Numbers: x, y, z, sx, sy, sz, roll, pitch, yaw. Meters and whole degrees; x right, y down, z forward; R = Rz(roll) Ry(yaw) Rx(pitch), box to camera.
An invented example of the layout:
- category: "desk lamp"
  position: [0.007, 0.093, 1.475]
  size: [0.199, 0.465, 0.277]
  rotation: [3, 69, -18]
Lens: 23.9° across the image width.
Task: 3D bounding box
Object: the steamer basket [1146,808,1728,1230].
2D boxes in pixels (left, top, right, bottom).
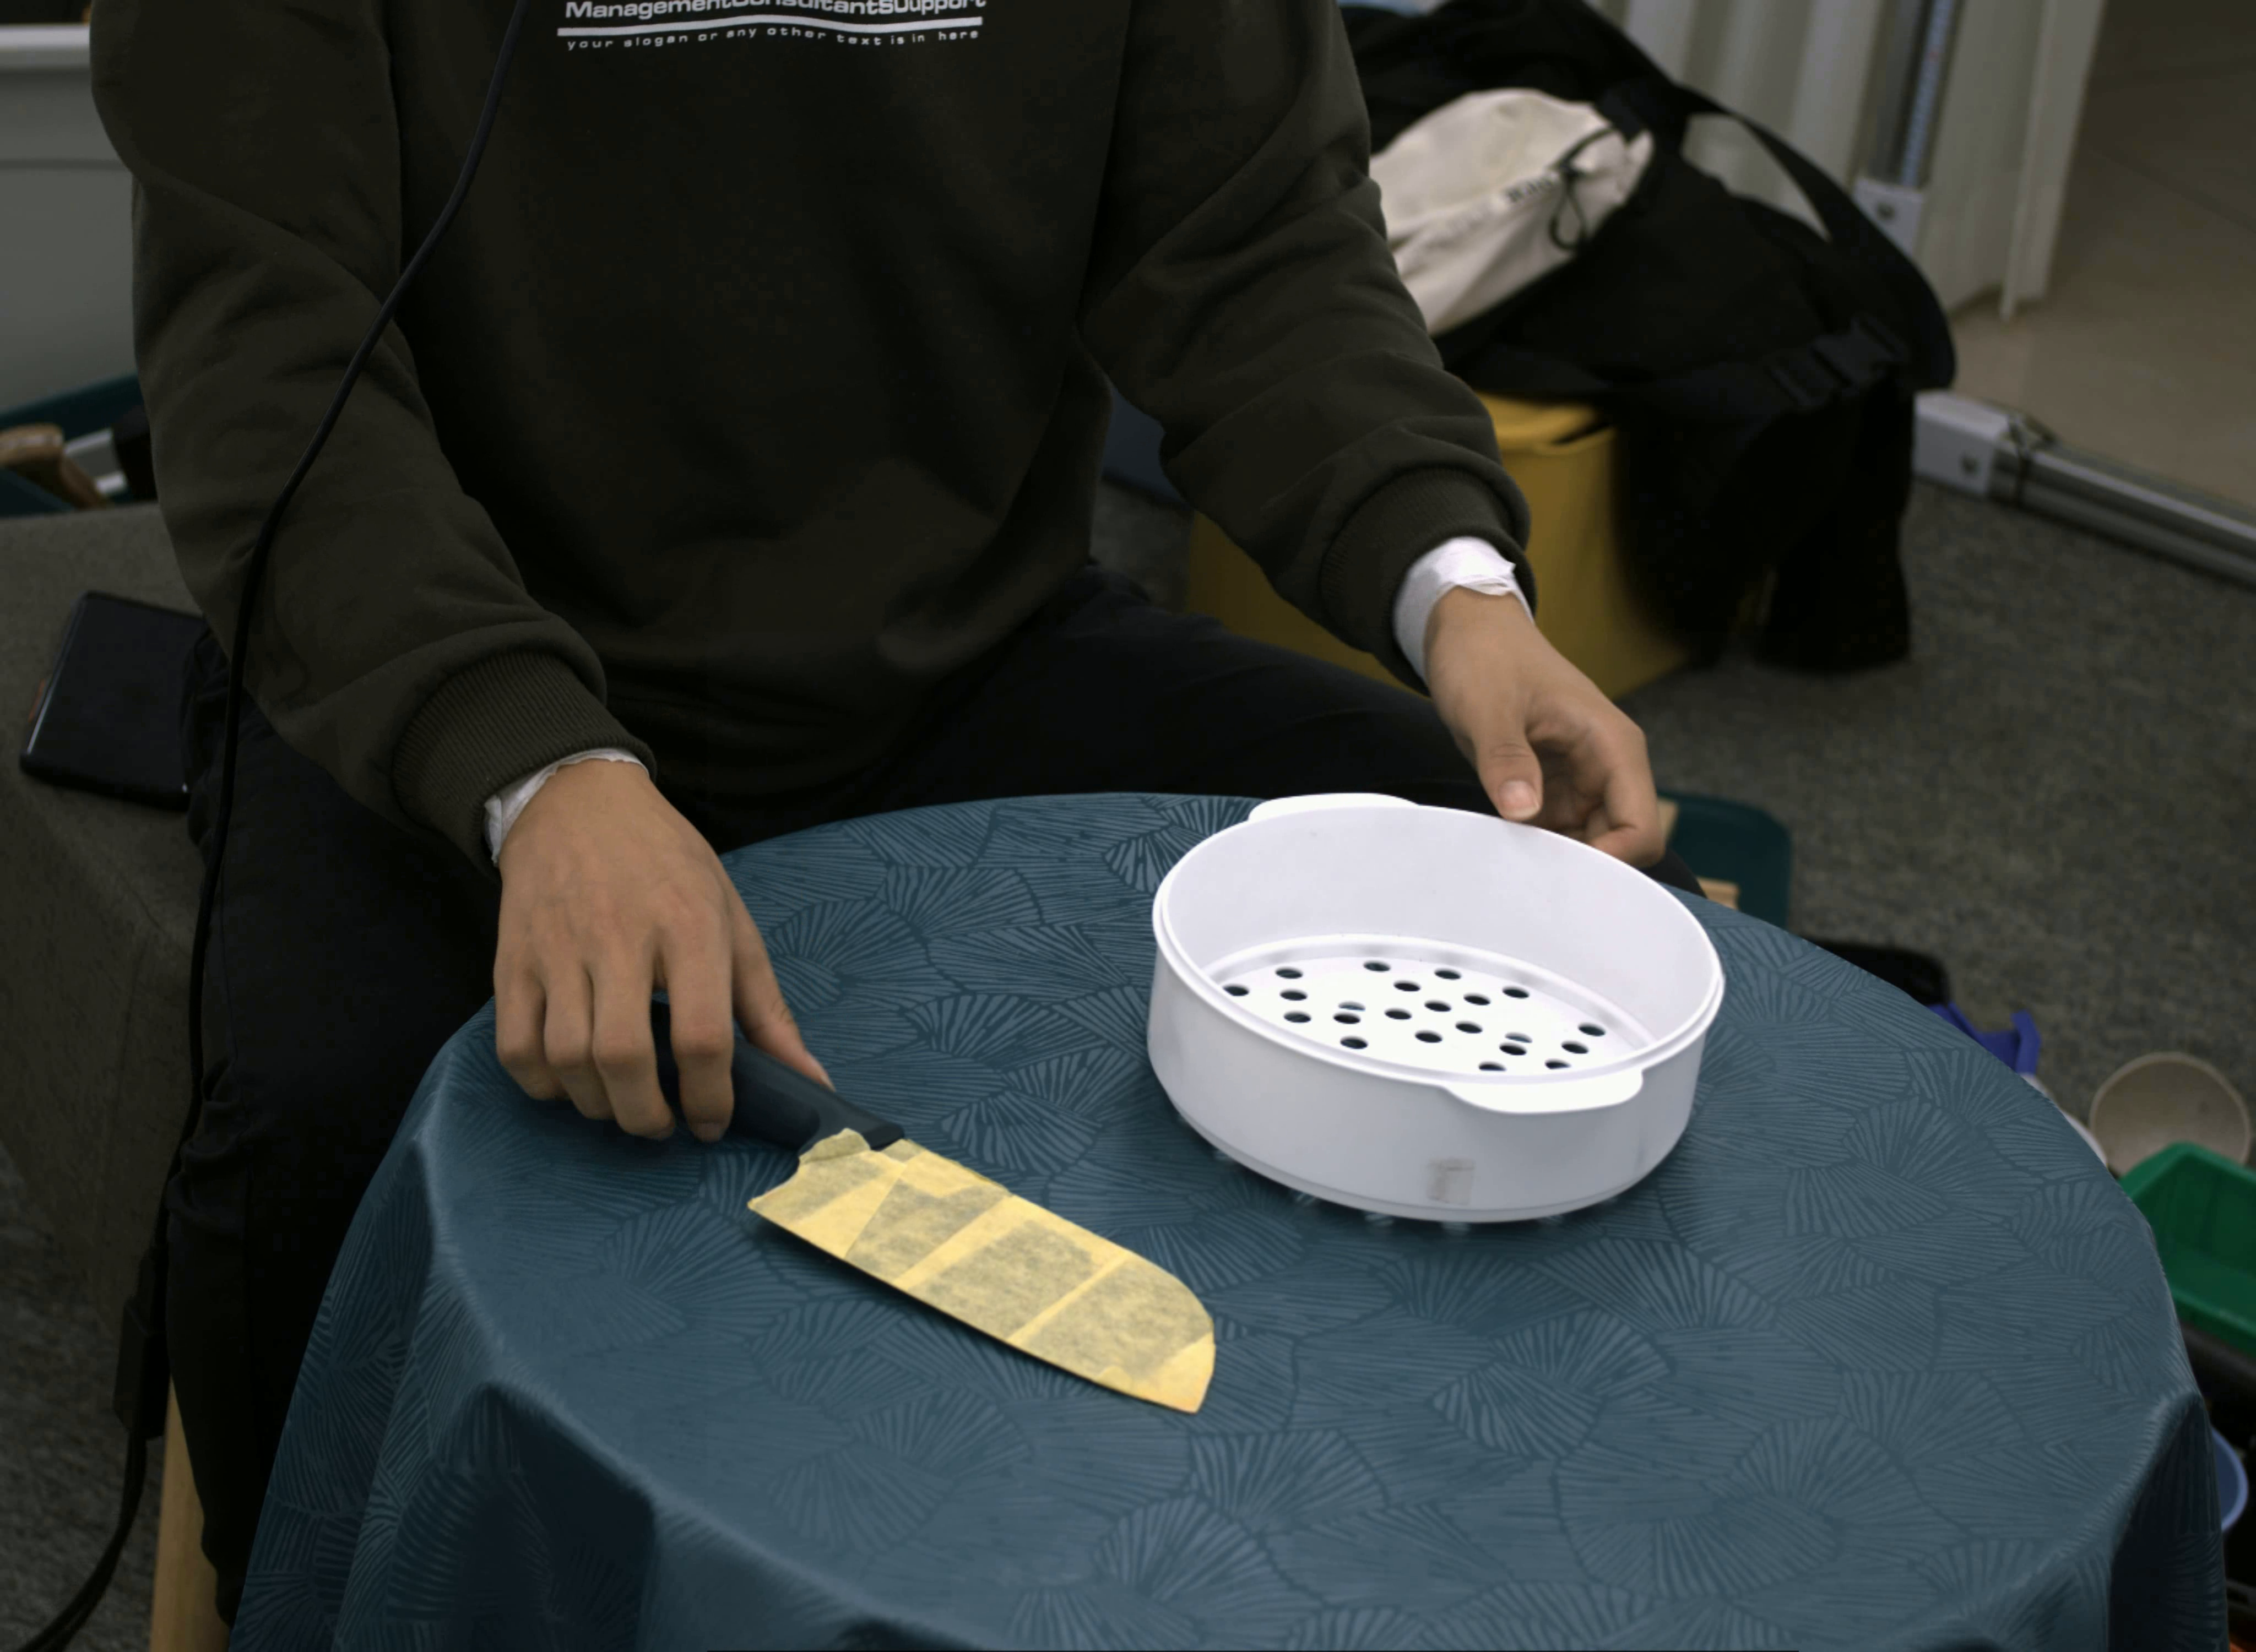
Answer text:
- category: "steamer basket"
  position: [0.106, 0.069, 1.864]
  size: [0.200, 0.069, 0.232]
  rotation: [-2, 27, -19]

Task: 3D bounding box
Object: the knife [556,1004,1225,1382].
- category: "knife"
  position: [-0.086, 0.123, 1.770]
  size: [0.291, 0.027, 0.081]
  rotation: [24, 30, 30]
